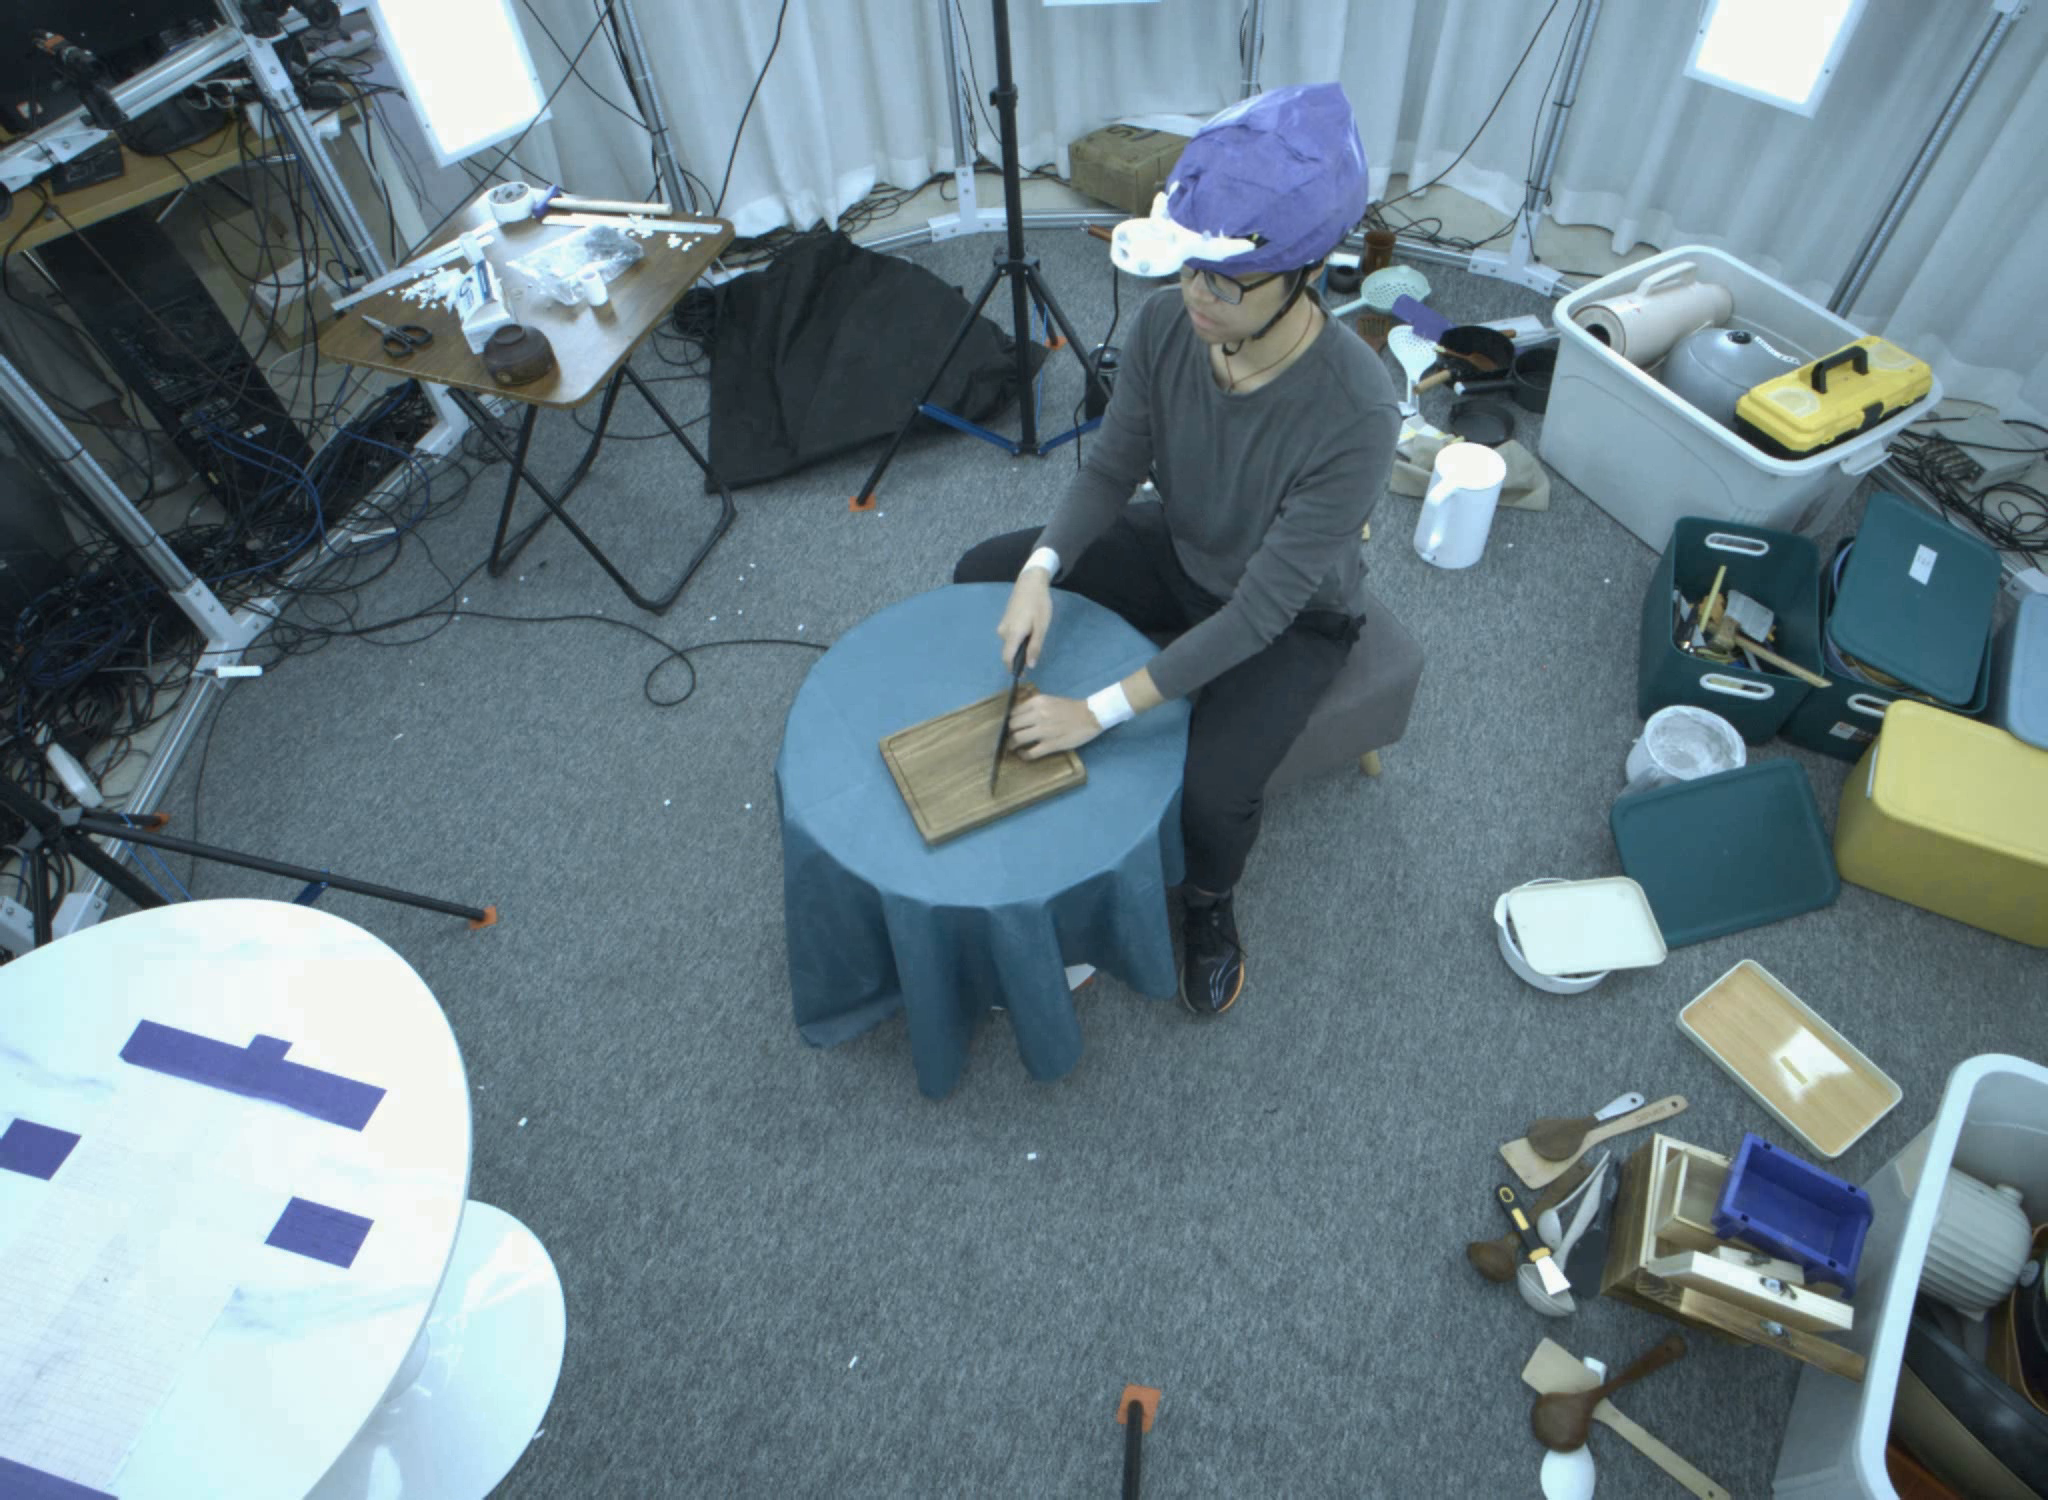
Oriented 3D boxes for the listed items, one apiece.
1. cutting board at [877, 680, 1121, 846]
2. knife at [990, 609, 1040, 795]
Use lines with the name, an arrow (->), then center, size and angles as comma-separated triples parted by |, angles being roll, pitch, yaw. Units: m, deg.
cutting board -> -0.017, -0.004, 1.785 | 0.355, 0.023, 0.197 | -22, 58, -14
knife -> -0.016, -0.077, 1.774 | 0.021, 0.081, 0.301 | 10, 65, 6
